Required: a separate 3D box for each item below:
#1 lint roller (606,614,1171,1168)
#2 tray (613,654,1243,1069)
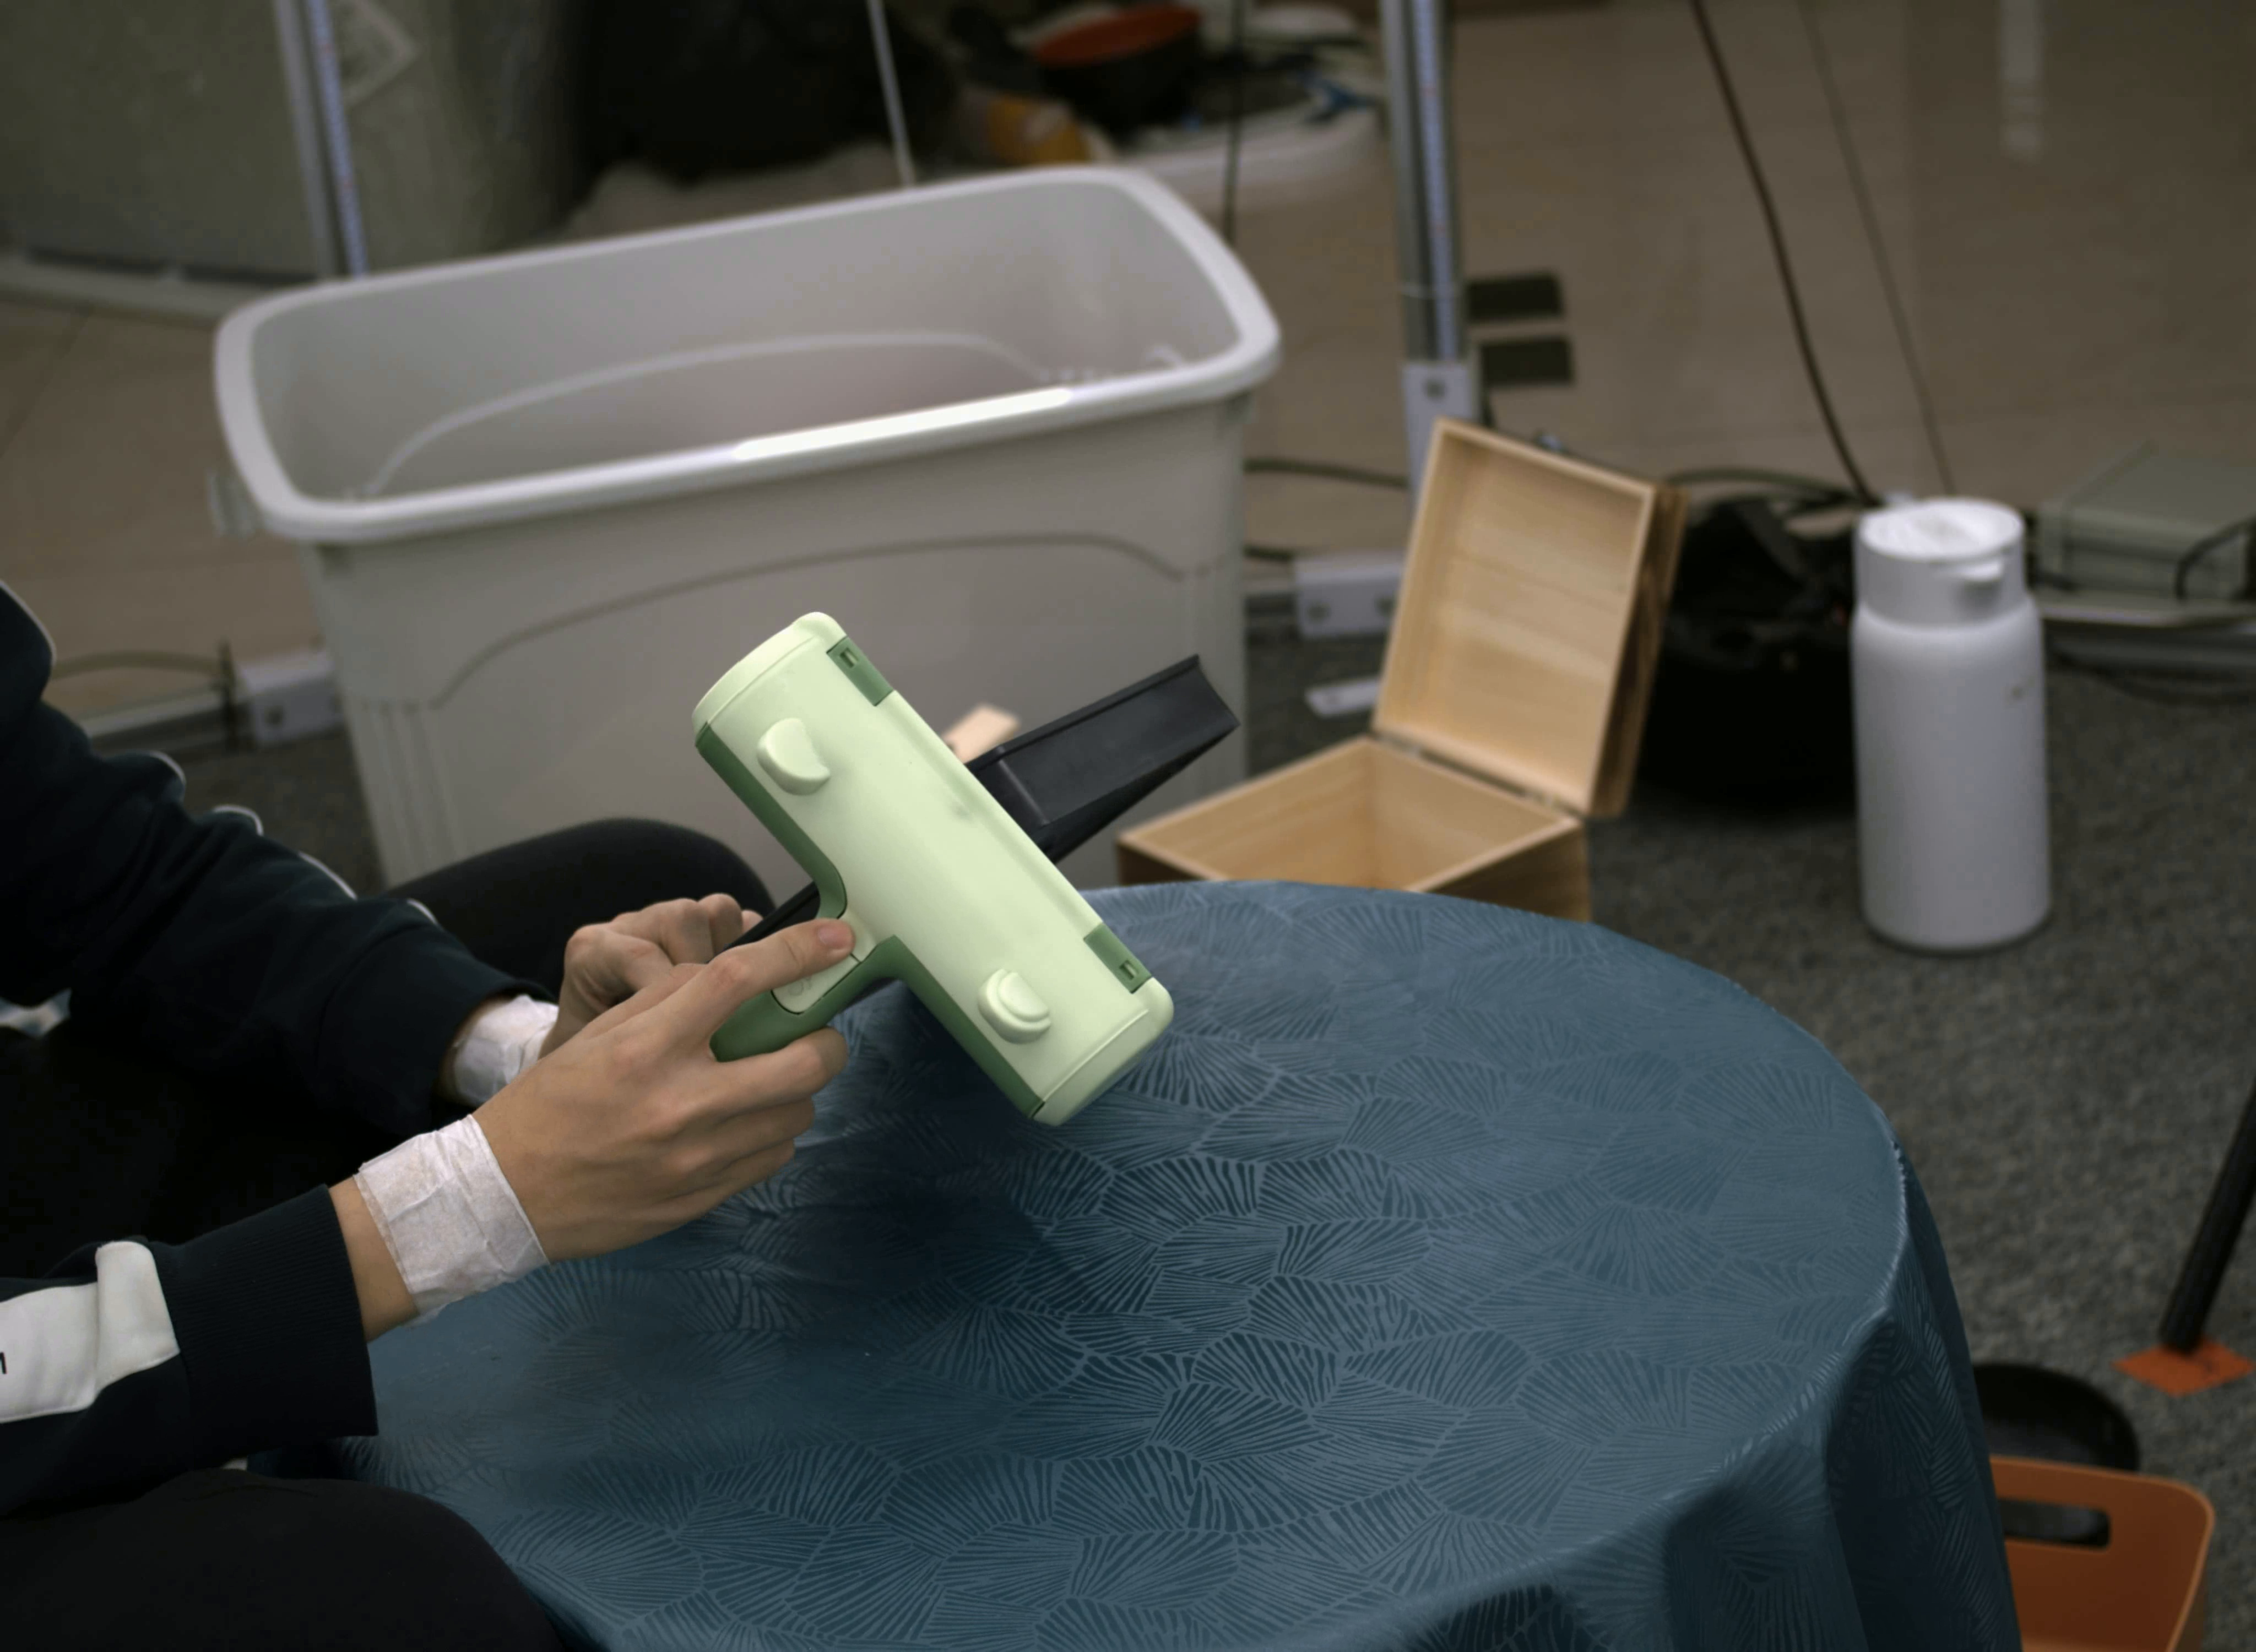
[{"bbox_3d":[-0.114,0.054,1.974,0.183,0.198,0.082,-41,-3,-2],"label":"lint roller"},{"bbox_3d":[-0.069,0.017,2.174,0.185,0.037,0.316,-37,-3,19],"label":"tray"}]
